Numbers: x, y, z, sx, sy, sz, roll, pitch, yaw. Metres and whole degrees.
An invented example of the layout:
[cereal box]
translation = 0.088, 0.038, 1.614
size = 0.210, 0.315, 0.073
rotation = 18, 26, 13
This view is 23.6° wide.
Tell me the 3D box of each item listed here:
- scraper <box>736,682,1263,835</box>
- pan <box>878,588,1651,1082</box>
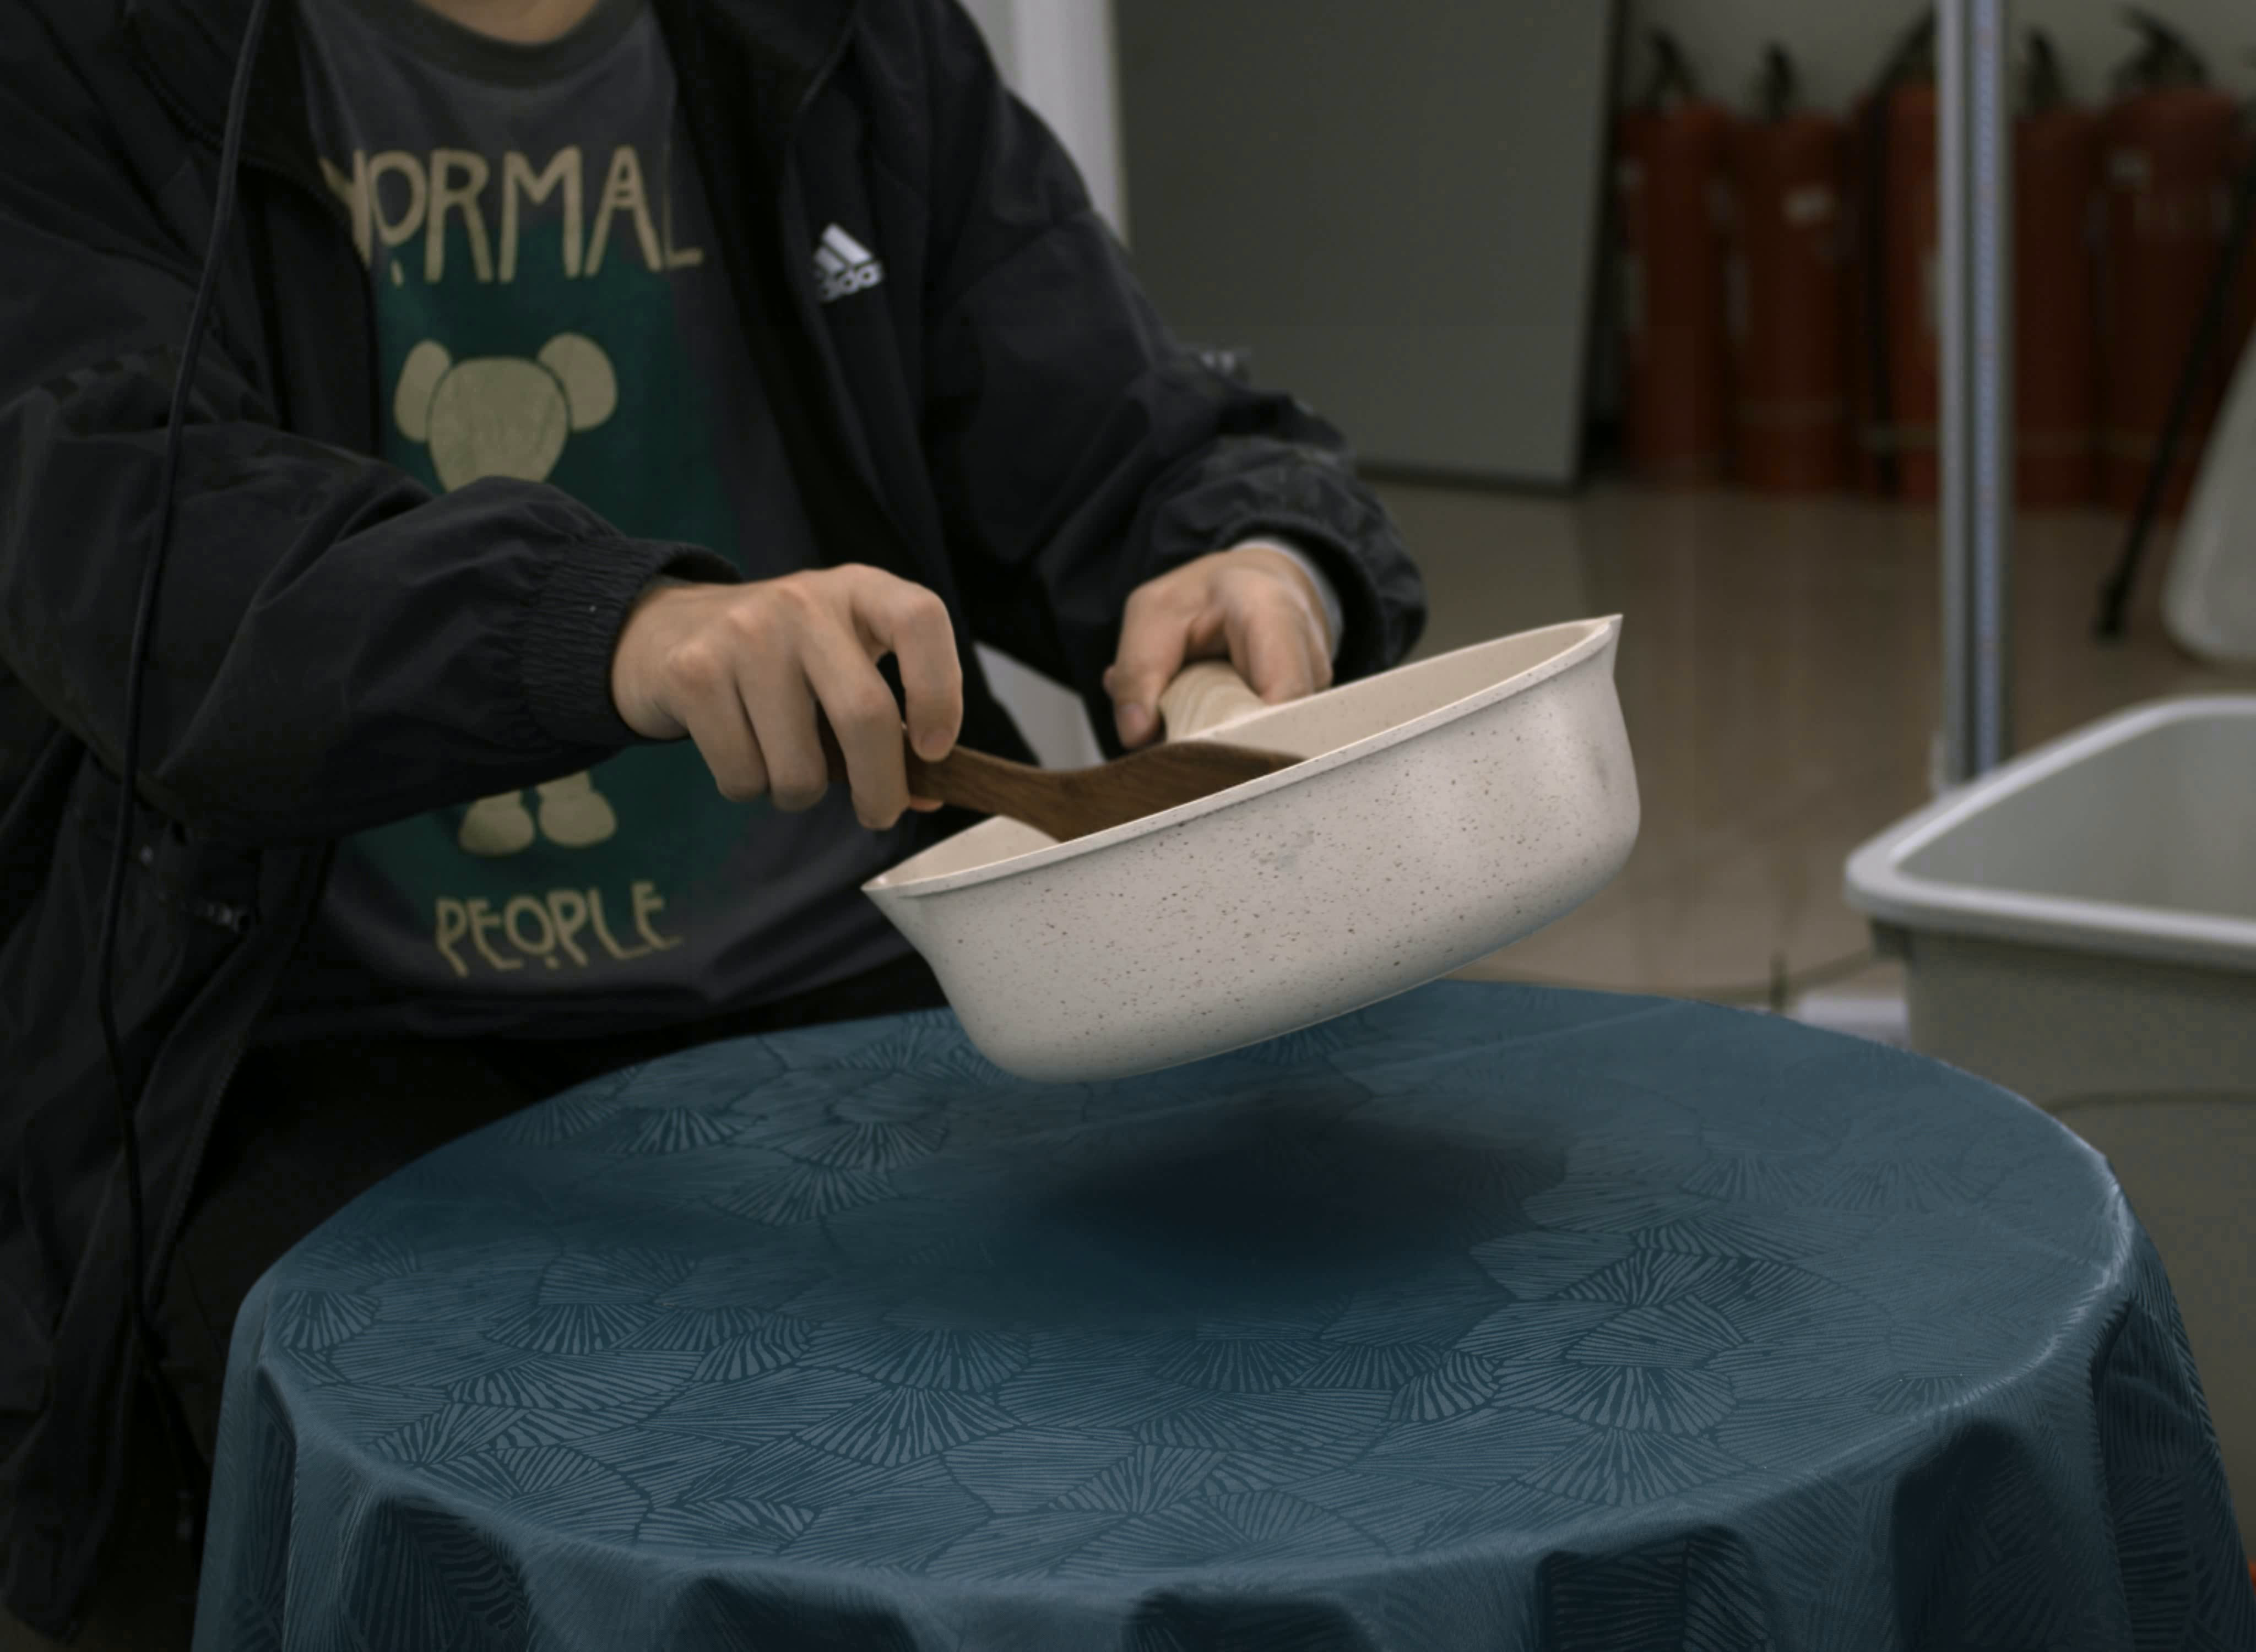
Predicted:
[scraper]
translation = -0.035, -0.010, 1.720
size = 0.212, 0.076, 0.010
rotation = 15, 25, 24
[pan]
translation = 0.048, -0.003, 1.832
size = 0.261, 0.103, 0.435
rotation = -22, 4, -1
